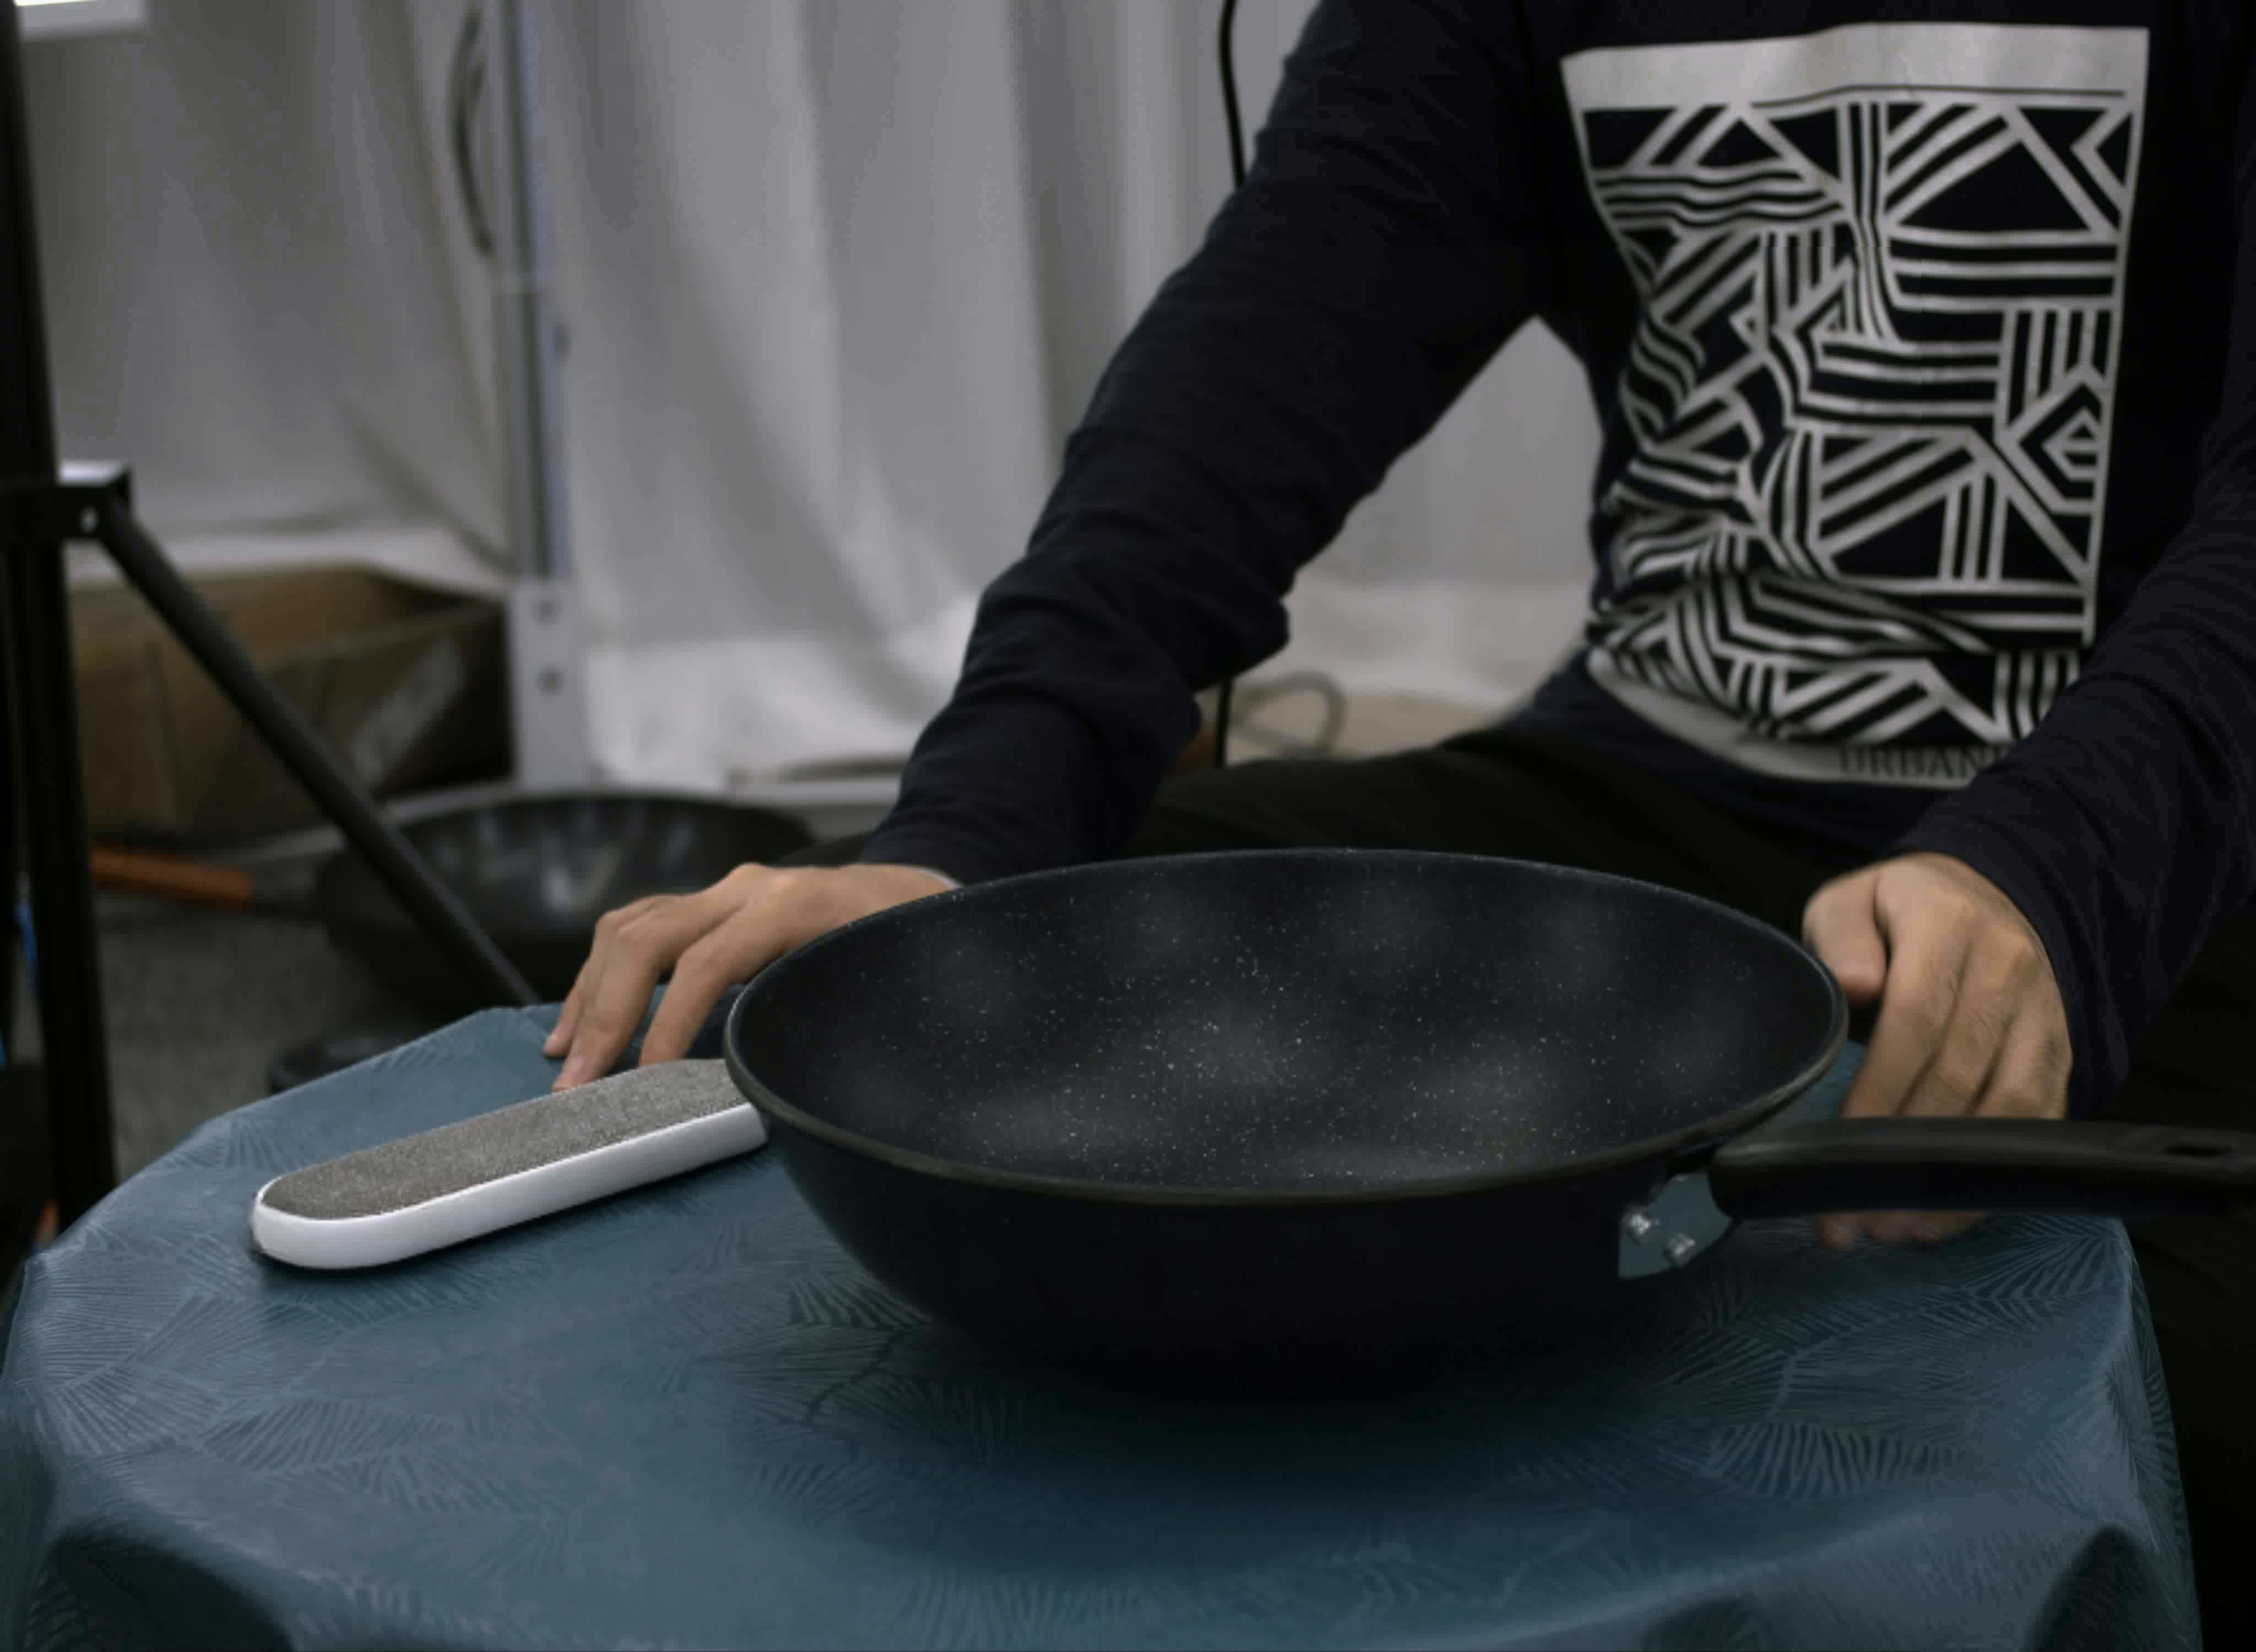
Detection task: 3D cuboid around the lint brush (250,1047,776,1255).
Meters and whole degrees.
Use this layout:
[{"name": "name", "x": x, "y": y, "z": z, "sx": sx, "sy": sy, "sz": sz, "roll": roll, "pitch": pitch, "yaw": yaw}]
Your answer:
[{"name": "lint brush", "x": -0.133, "y": 0.084, "z": 1.620, "sx": 0.302, "sy": 0.021, "sz": 0.061, "roll": -16, "pitch": 15, "yaw": -39}]

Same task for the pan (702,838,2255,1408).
[{"name": "pan", "x": 0.097, "y": 0.092, "z": 1.405, "sx": 0.303, "sy": 0.111, "sz": 0.488, "roll": -18, "pitch": 22, "yaw": -41}]
